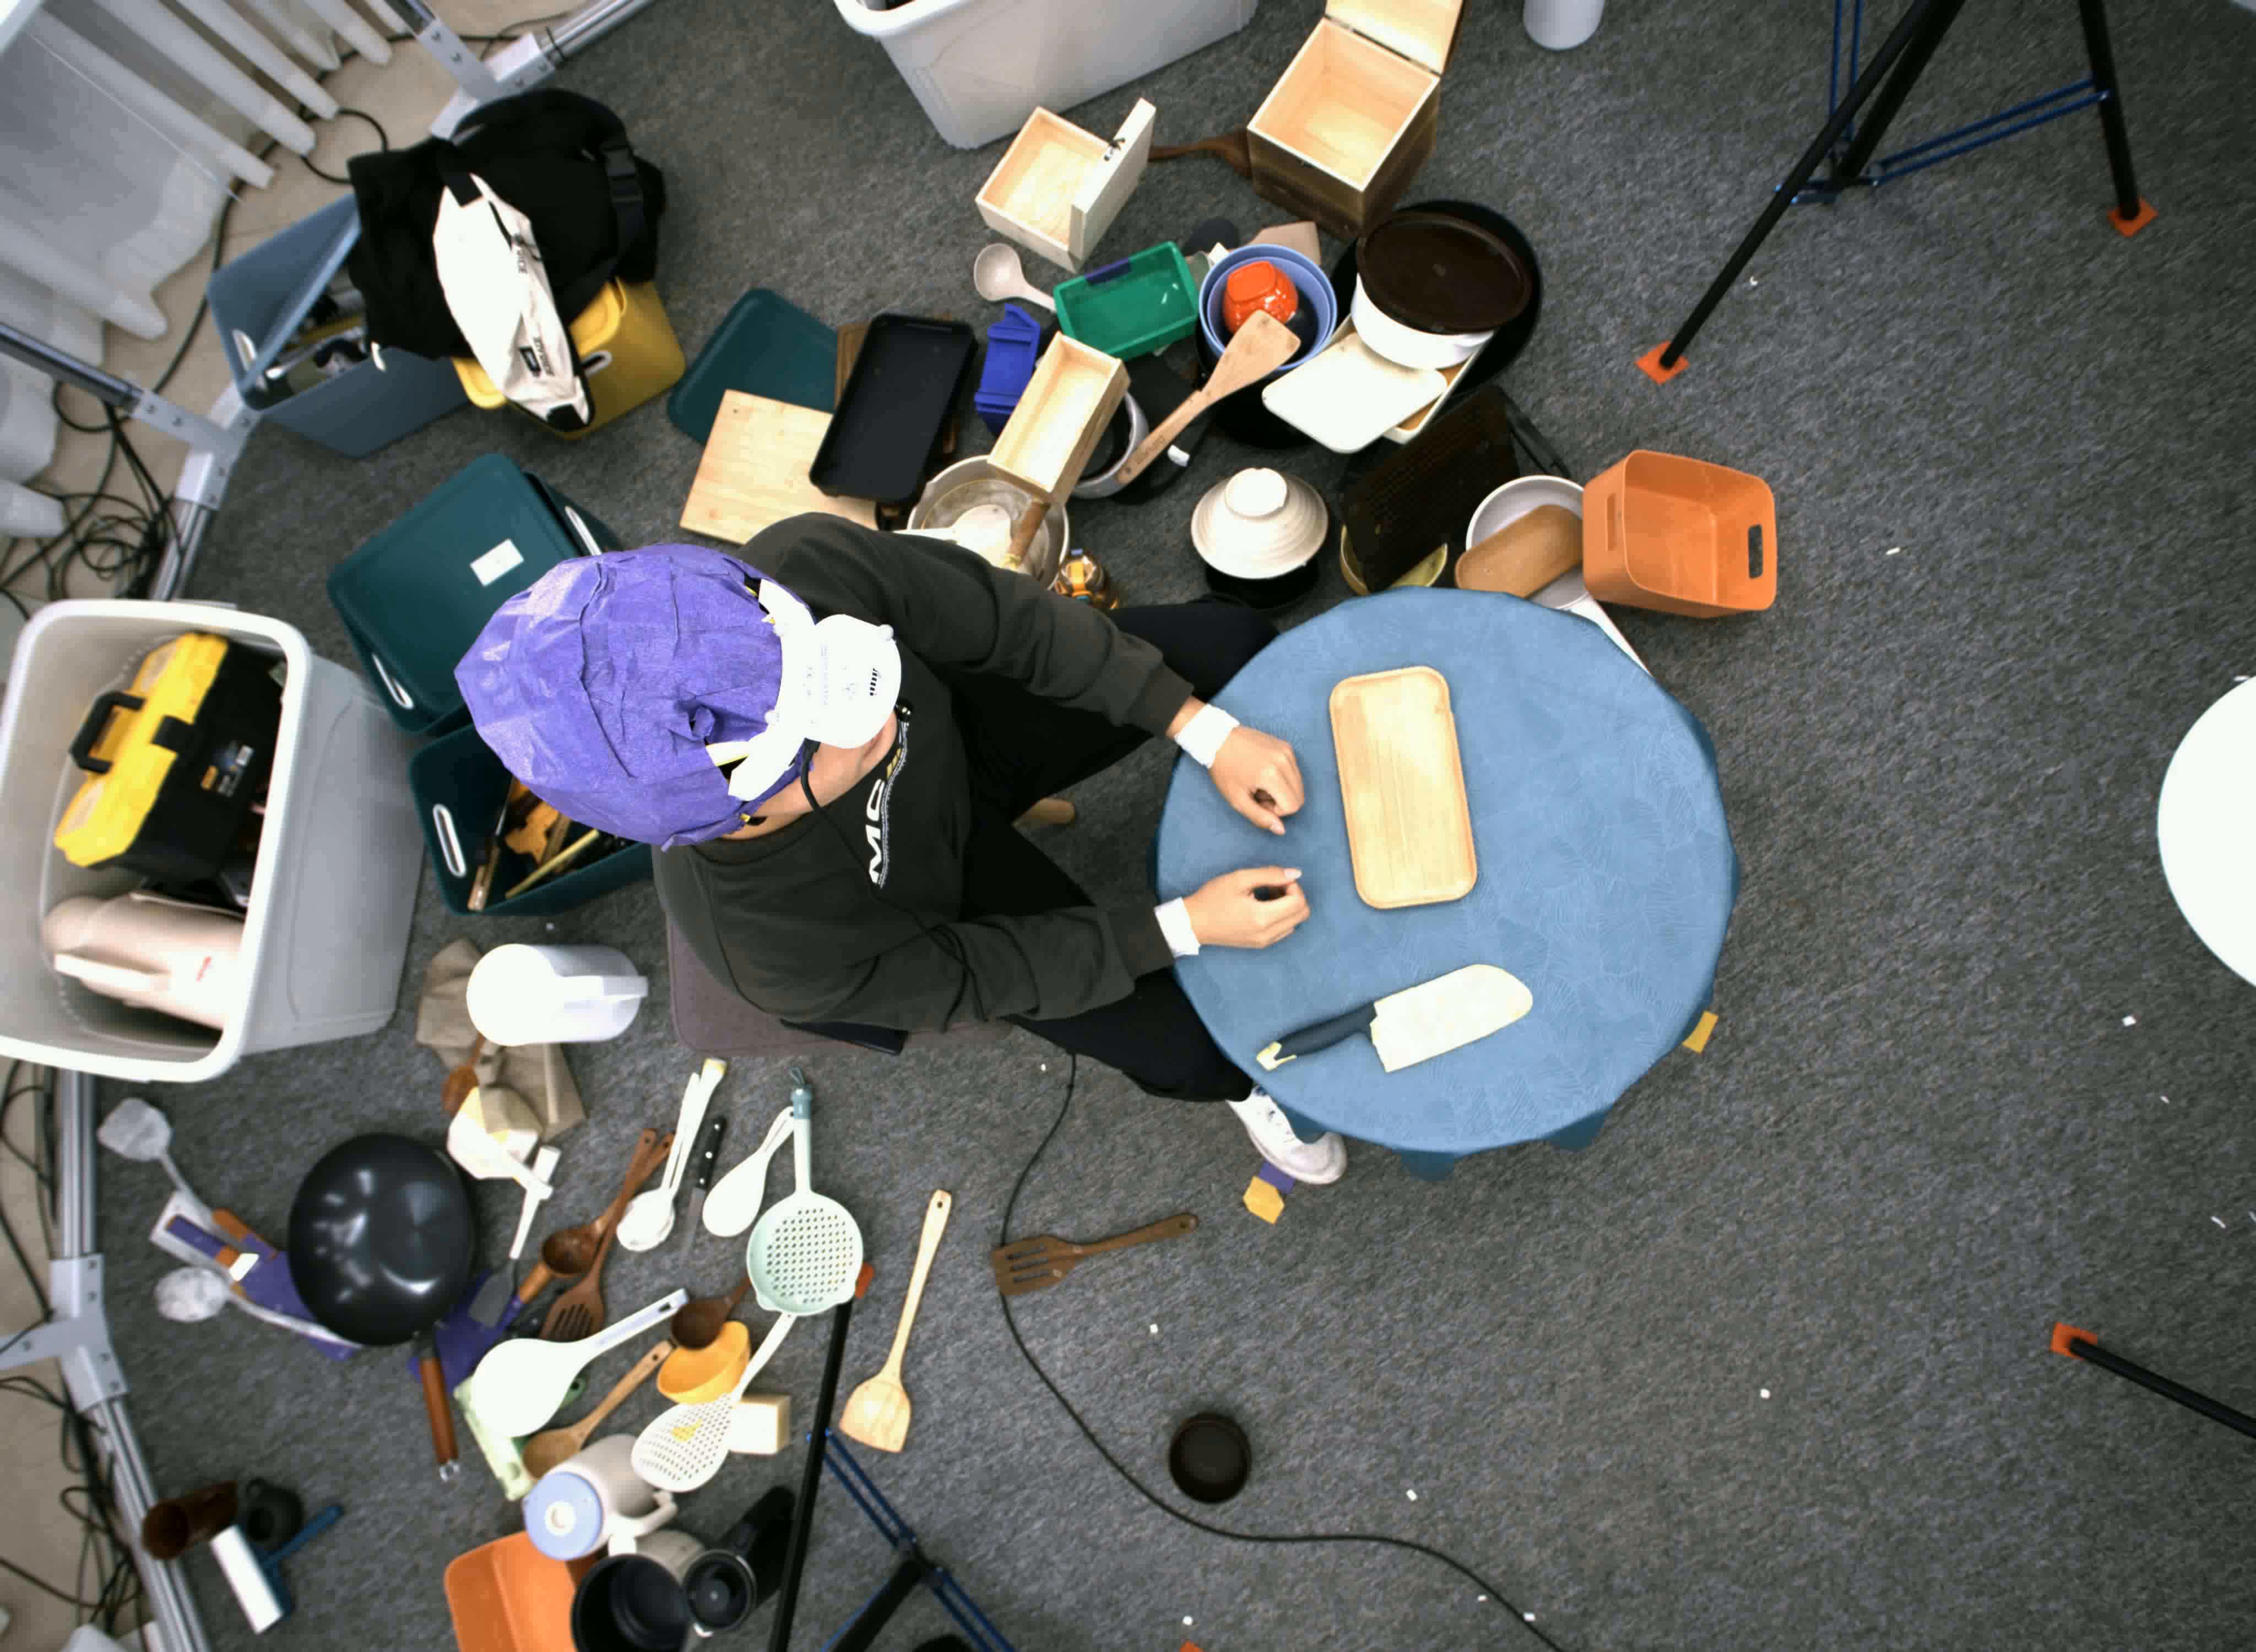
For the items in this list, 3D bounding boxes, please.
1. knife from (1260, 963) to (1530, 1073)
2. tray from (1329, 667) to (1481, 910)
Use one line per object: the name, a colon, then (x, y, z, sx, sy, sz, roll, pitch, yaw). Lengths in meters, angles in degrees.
knife: (0.279, 0.211, 1.443, 0.291, 0.027, 0.080, -19, 82, 8)
tray: (0.292, -0.042, 1.454, 0.131, 0.023, 0.249, -8, 86, 13)
